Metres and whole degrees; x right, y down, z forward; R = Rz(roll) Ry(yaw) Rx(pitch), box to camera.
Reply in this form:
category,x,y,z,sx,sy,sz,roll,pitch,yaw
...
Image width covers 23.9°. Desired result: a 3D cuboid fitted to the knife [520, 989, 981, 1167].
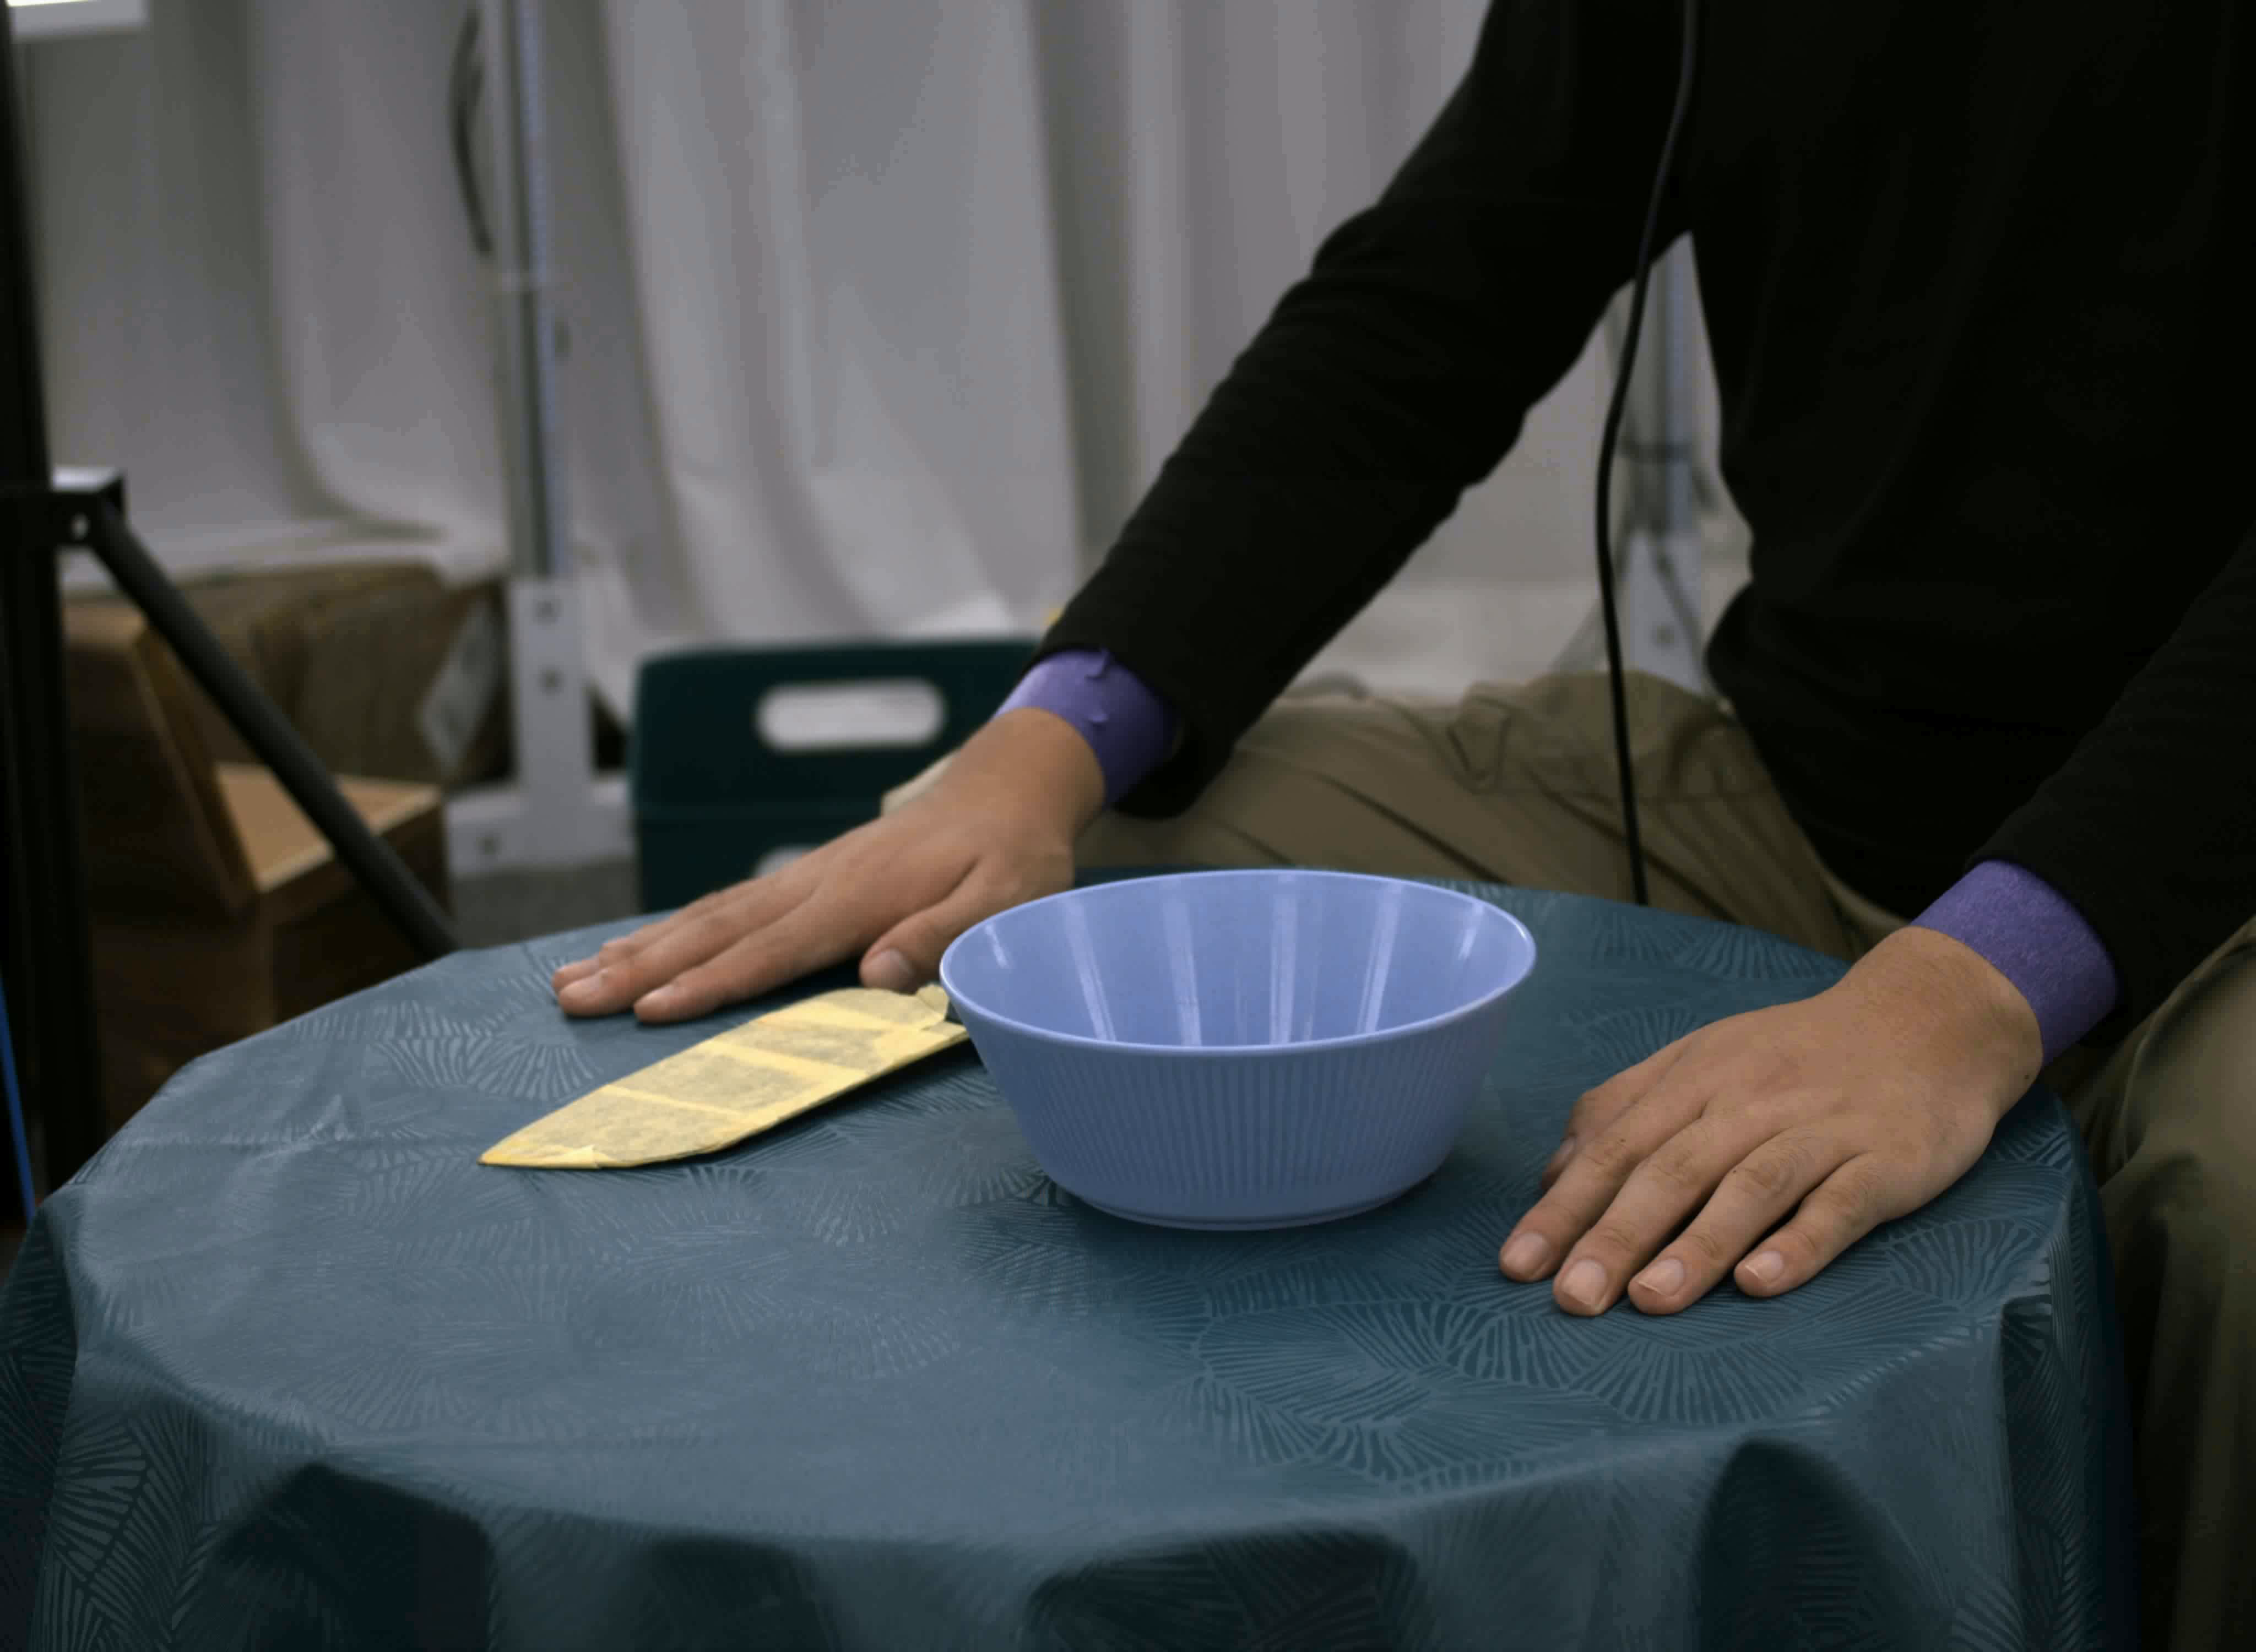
category,x,y,z,sx,sy,sz,roll,pitch,yaw
knife,-0.081,0.066,1.693,0.083,0.027,0.283,14,24,43

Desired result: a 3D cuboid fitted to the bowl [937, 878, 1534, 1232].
category,x,y,z,sx,sy,sz,roll,pitch,yaw
bowl,0.033,0.069,1.561,0.175,0.070,0.177,-3,15,-1
